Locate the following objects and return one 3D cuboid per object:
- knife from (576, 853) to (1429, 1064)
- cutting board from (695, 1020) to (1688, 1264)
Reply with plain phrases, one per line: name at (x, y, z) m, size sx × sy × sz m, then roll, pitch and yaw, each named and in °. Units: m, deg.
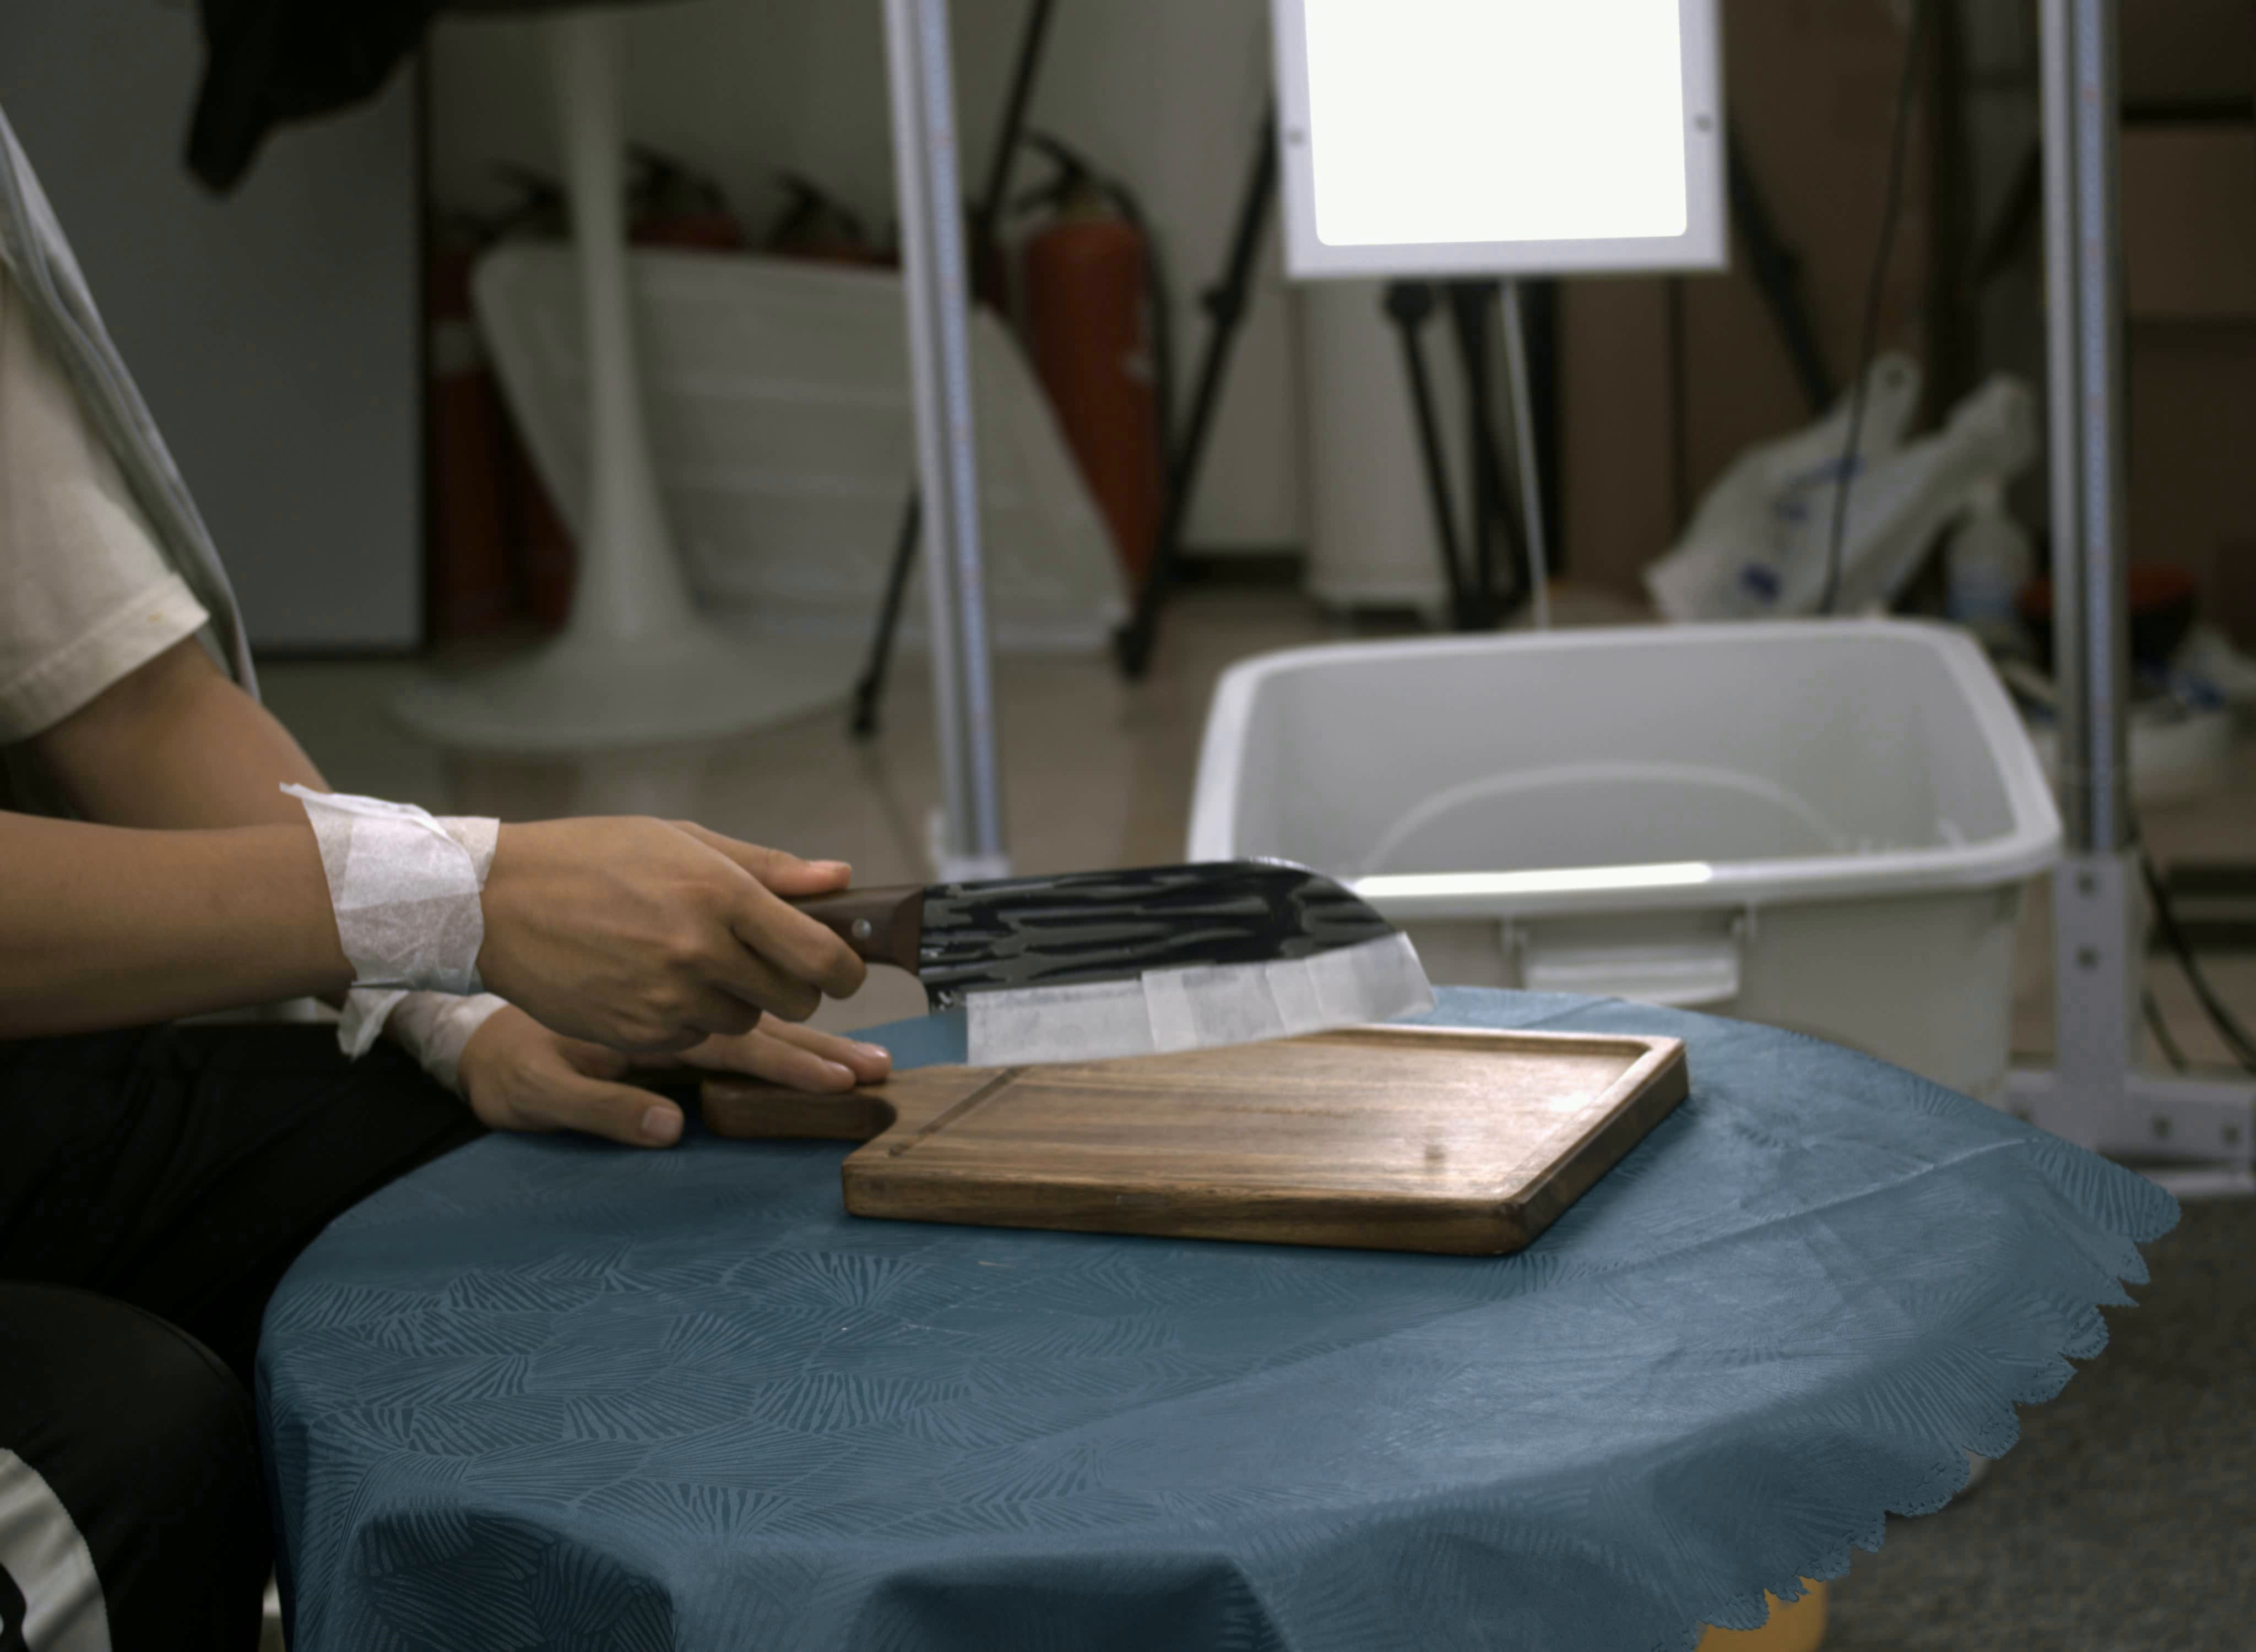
knife at (-0.045, 0.048, 1.925) m, size 0.301 × 0.068 × 0.024 m, roll -4°, pitch 8°, yaw 9°
cutting board at (0.006, 0.106, 1.947) m, size 0.358 × 0.023 × 0.197 m, roll 1°, pitch 16°, yaw 25°
